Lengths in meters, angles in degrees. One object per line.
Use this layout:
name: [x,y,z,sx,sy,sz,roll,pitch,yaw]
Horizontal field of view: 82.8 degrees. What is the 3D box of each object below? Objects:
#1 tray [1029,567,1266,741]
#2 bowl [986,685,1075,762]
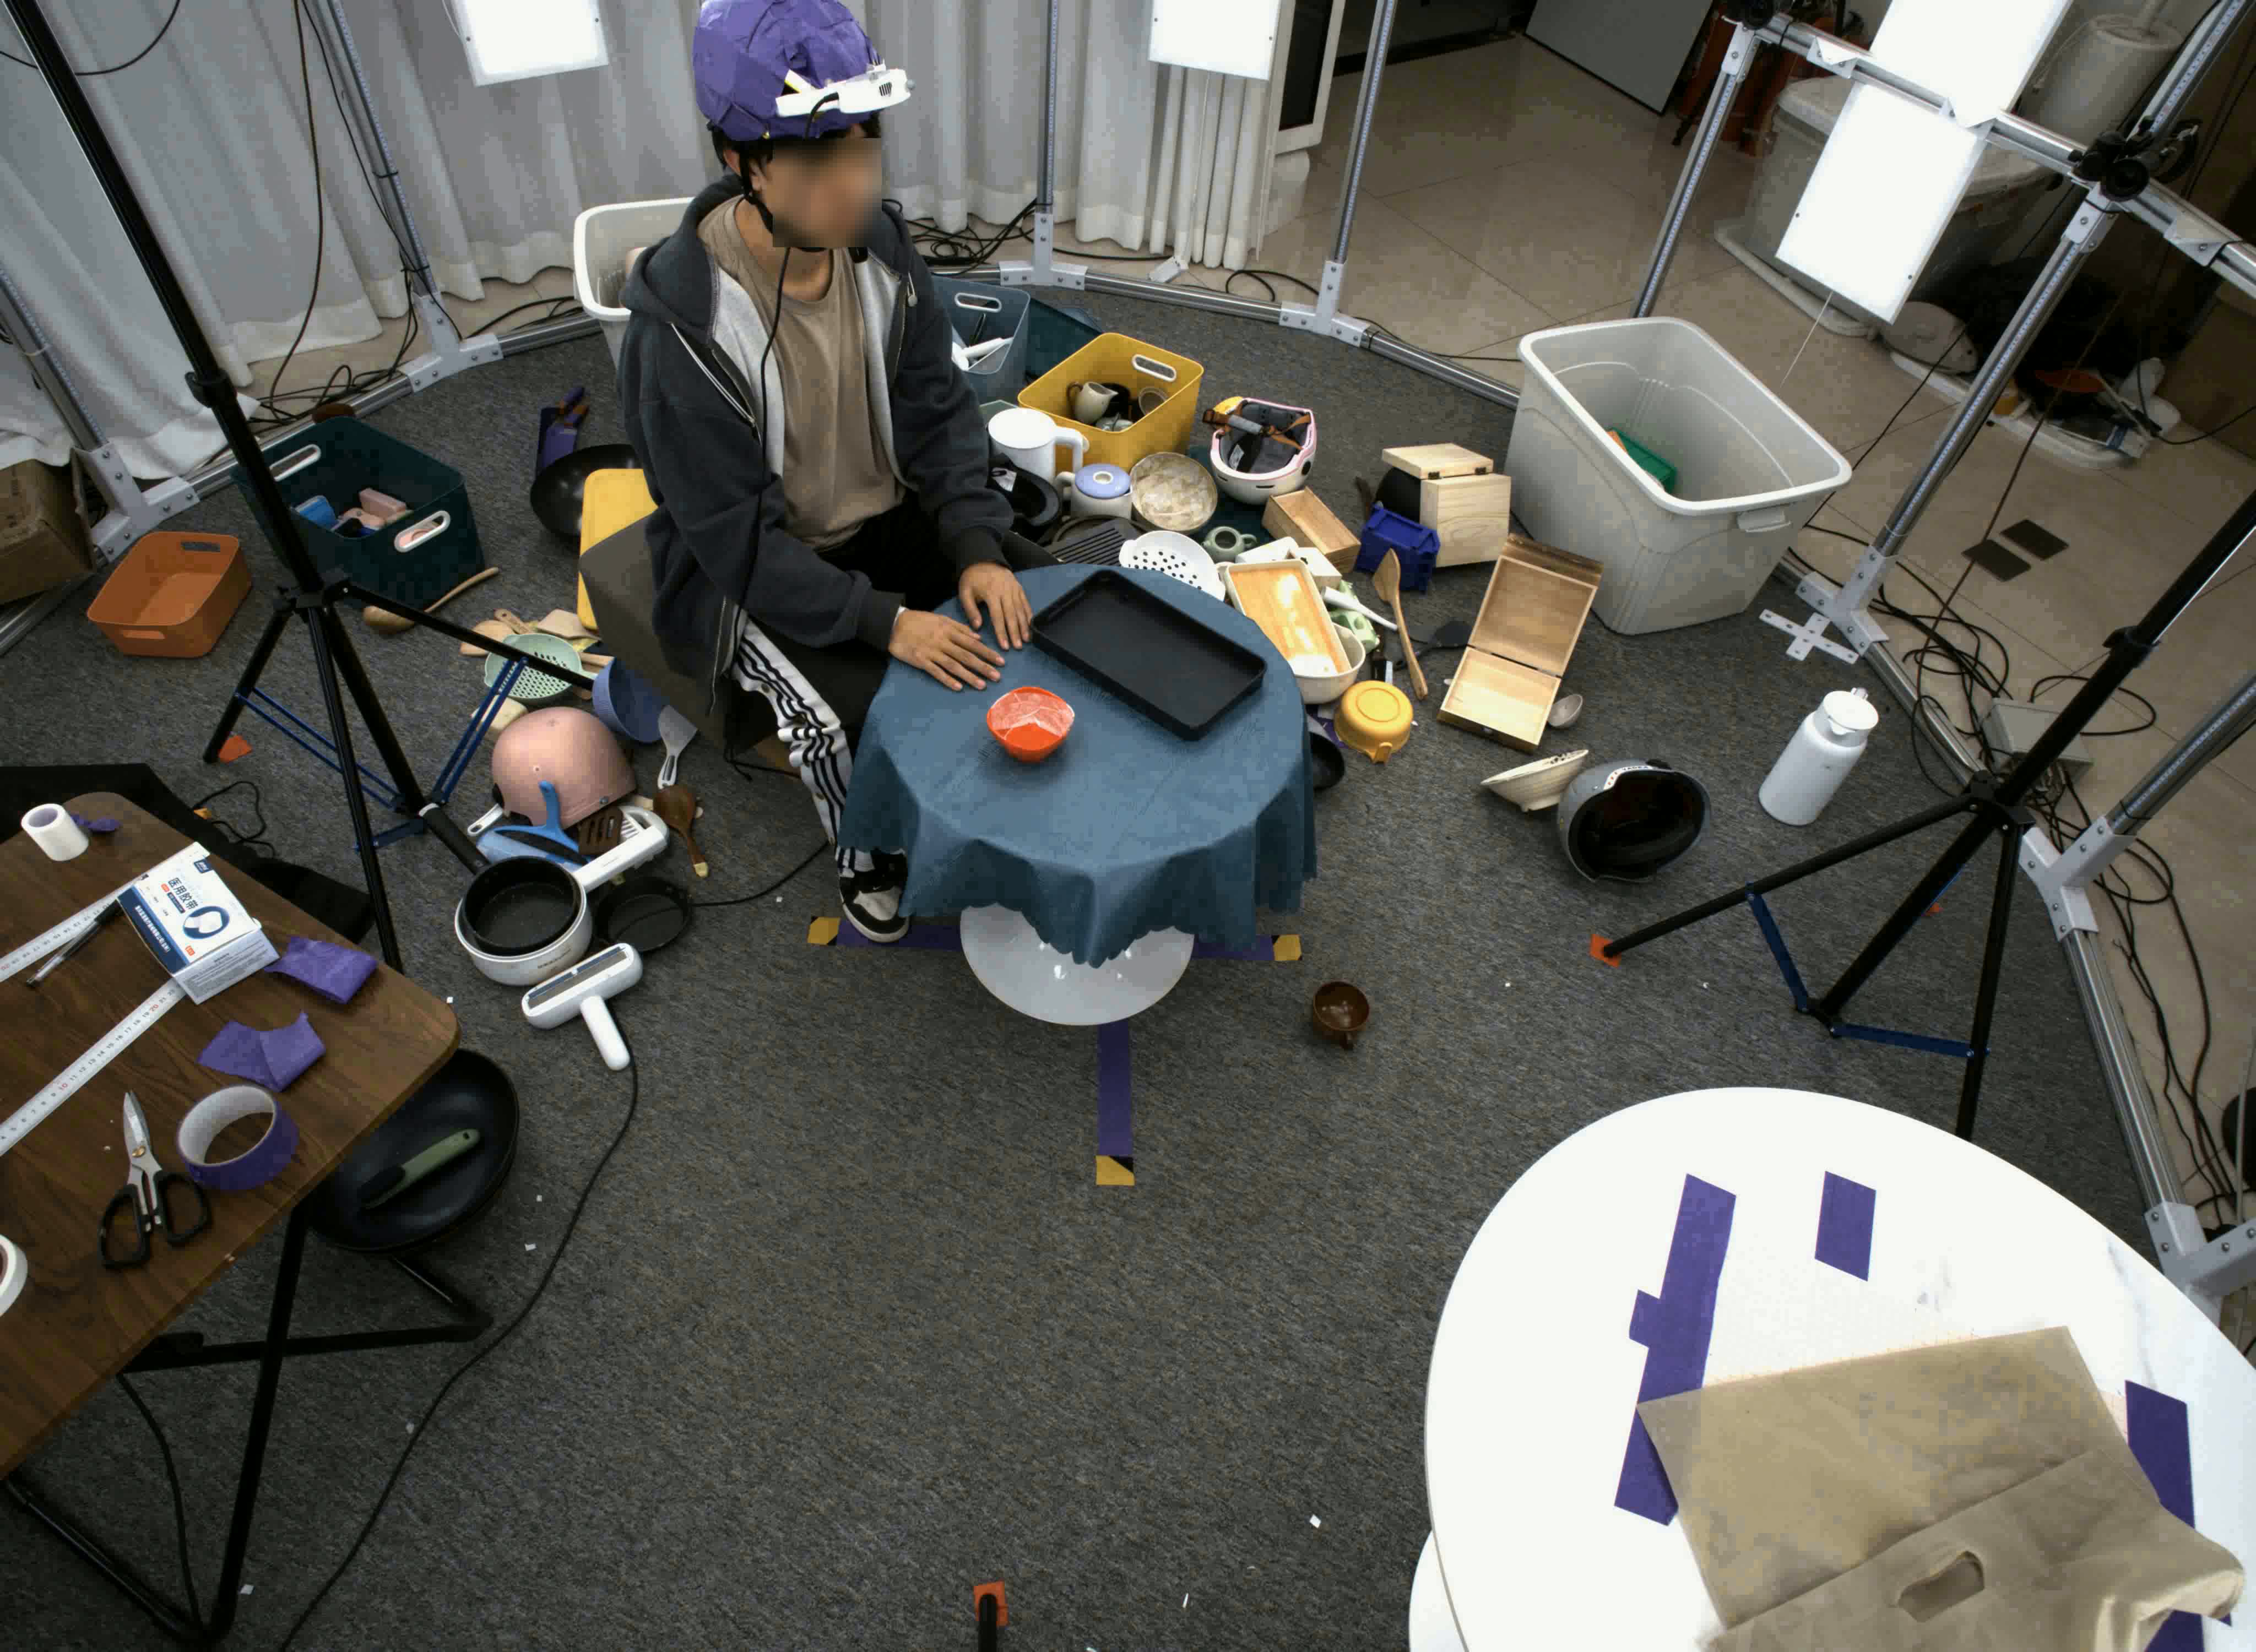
tray: [0.026,-0.255,1.864,0.322,0.036,0.186,34,55,23]
bowl: [-0.132,-0.132,1.736,0.119,0.050,0.122,2,51,-3]
